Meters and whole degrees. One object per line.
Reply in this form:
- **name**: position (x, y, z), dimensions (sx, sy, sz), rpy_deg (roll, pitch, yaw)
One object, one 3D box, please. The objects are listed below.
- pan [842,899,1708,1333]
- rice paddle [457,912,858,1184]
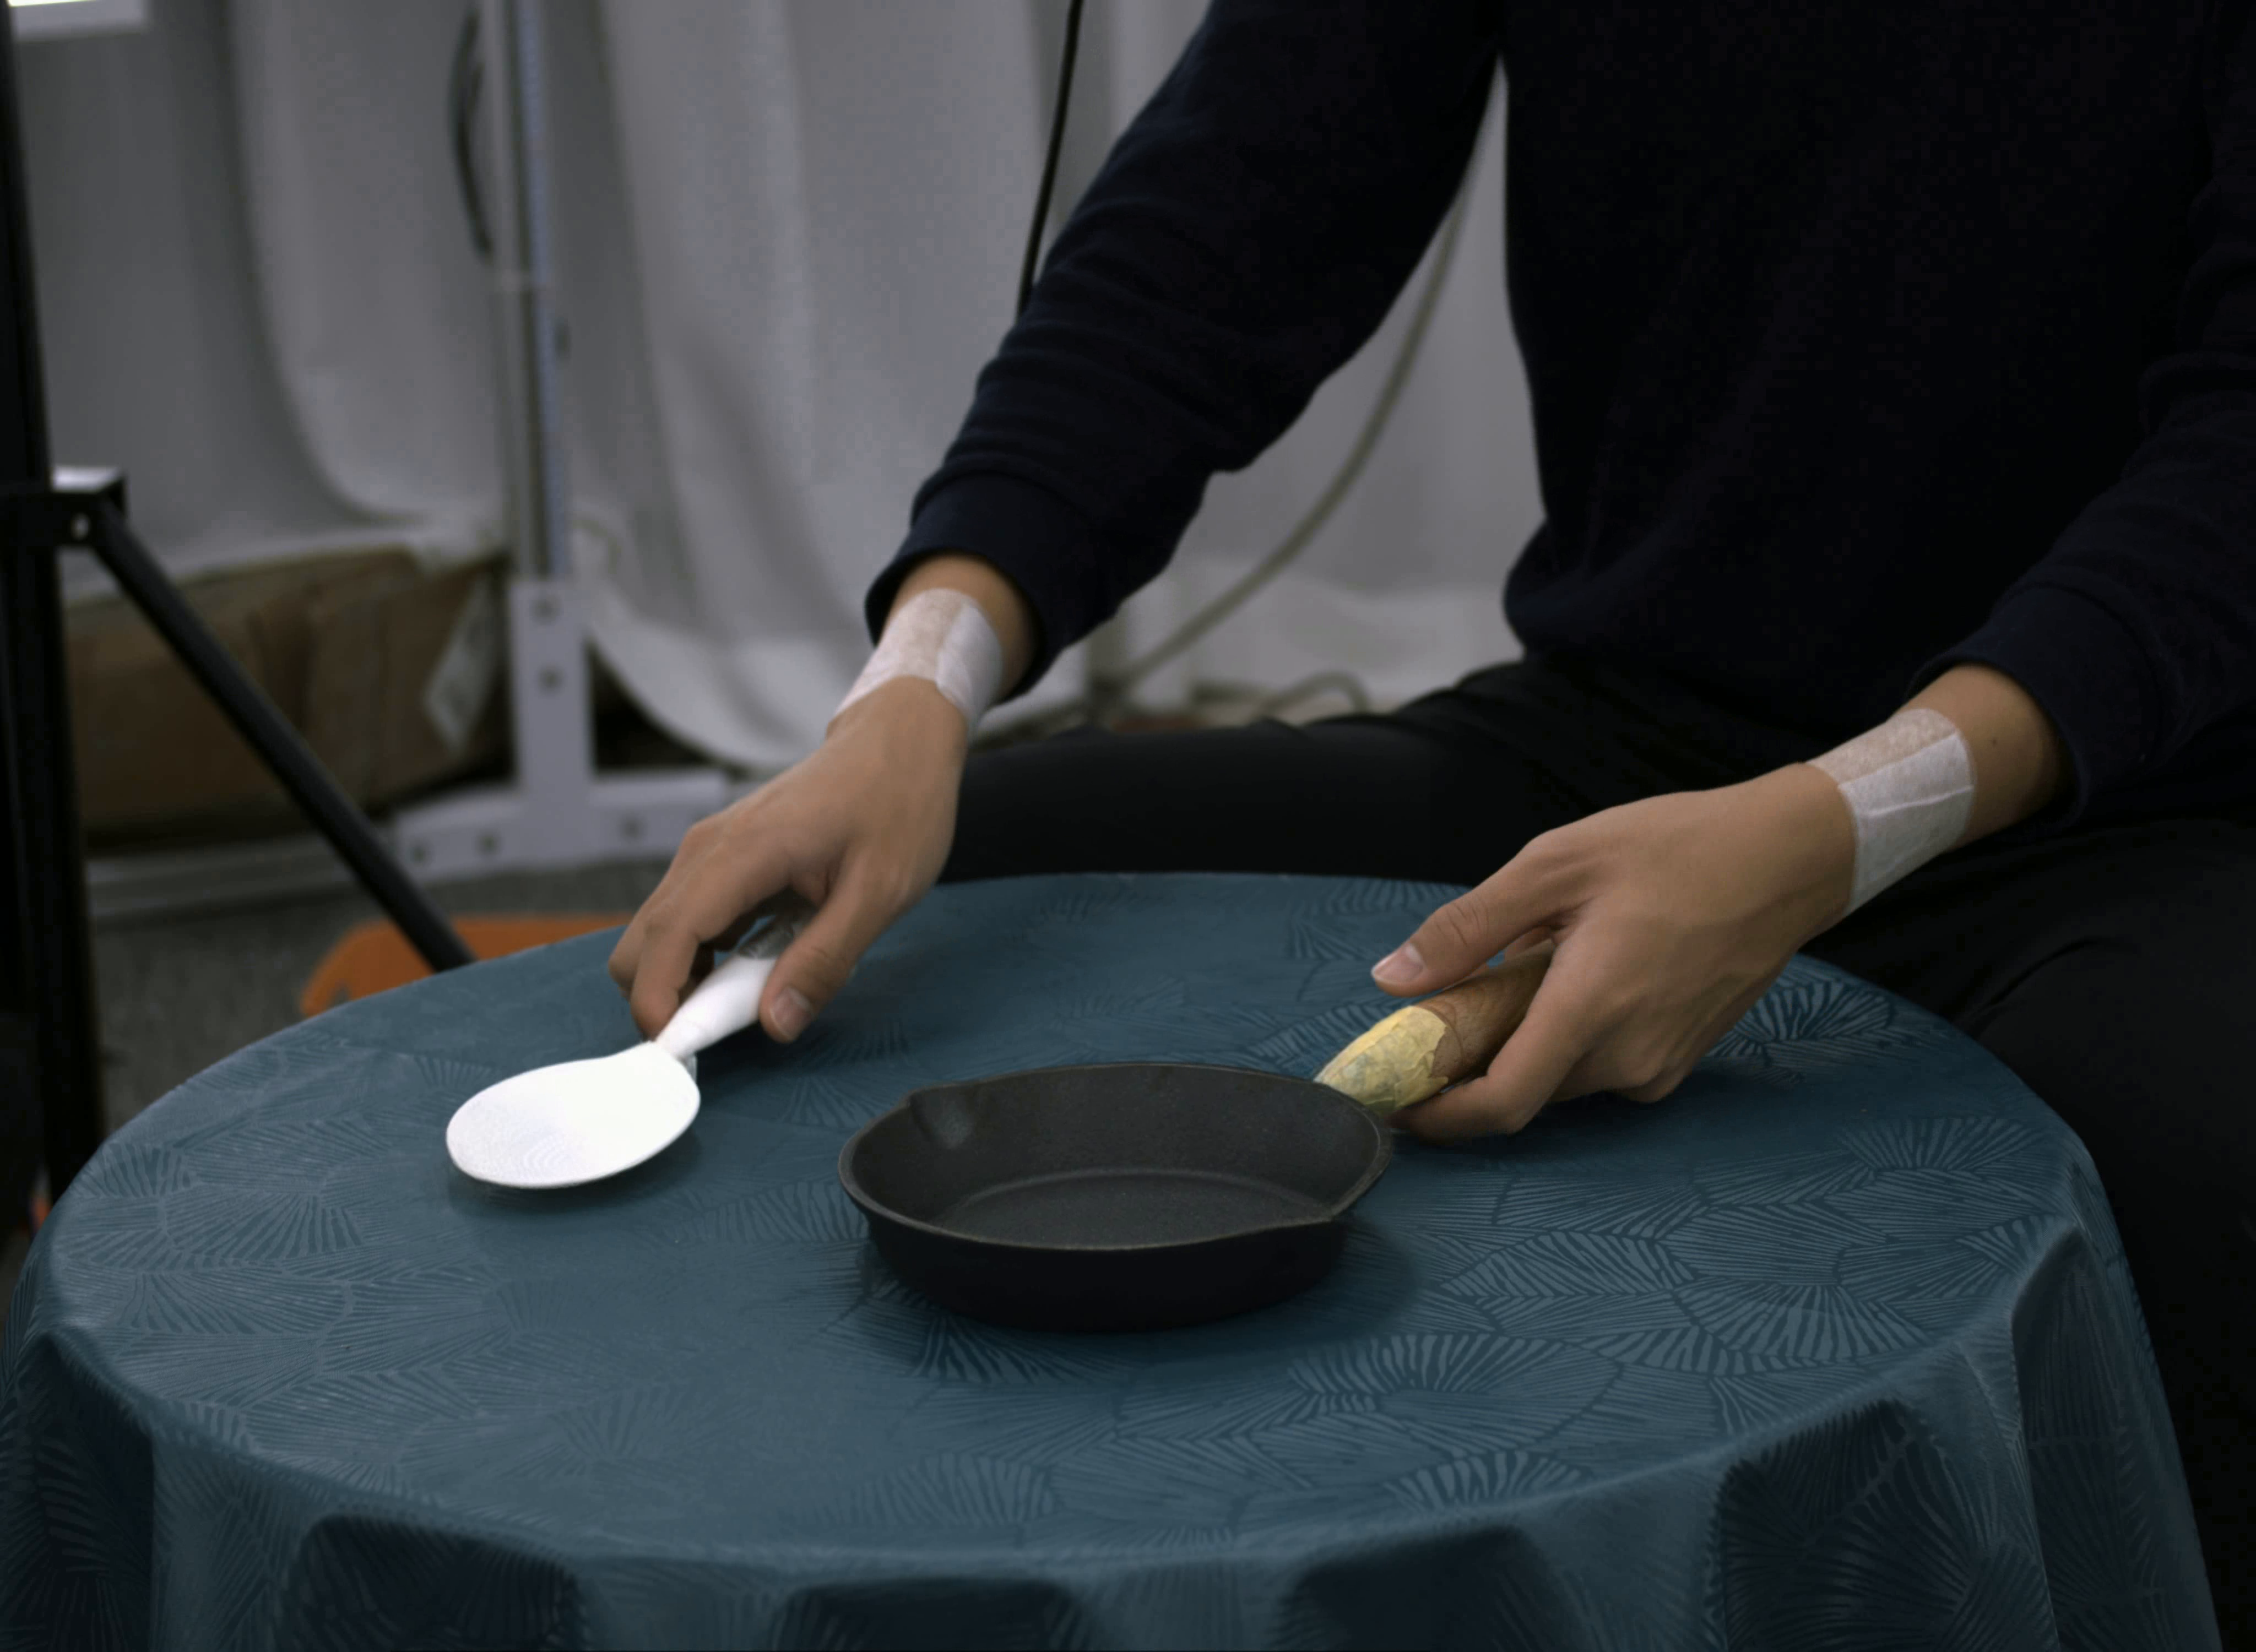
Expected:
- **pan**: position (0.060, 0.081, 1.551), dimensions (0.317, 0.049, 0.173), rpy_deg (-17, 21, -37)
- **rice paddle**: position (-0.141, 0.071, 1.652), dimensions (0.070, 0.029, 0.202), rpy_deg (8, 20, 23)
